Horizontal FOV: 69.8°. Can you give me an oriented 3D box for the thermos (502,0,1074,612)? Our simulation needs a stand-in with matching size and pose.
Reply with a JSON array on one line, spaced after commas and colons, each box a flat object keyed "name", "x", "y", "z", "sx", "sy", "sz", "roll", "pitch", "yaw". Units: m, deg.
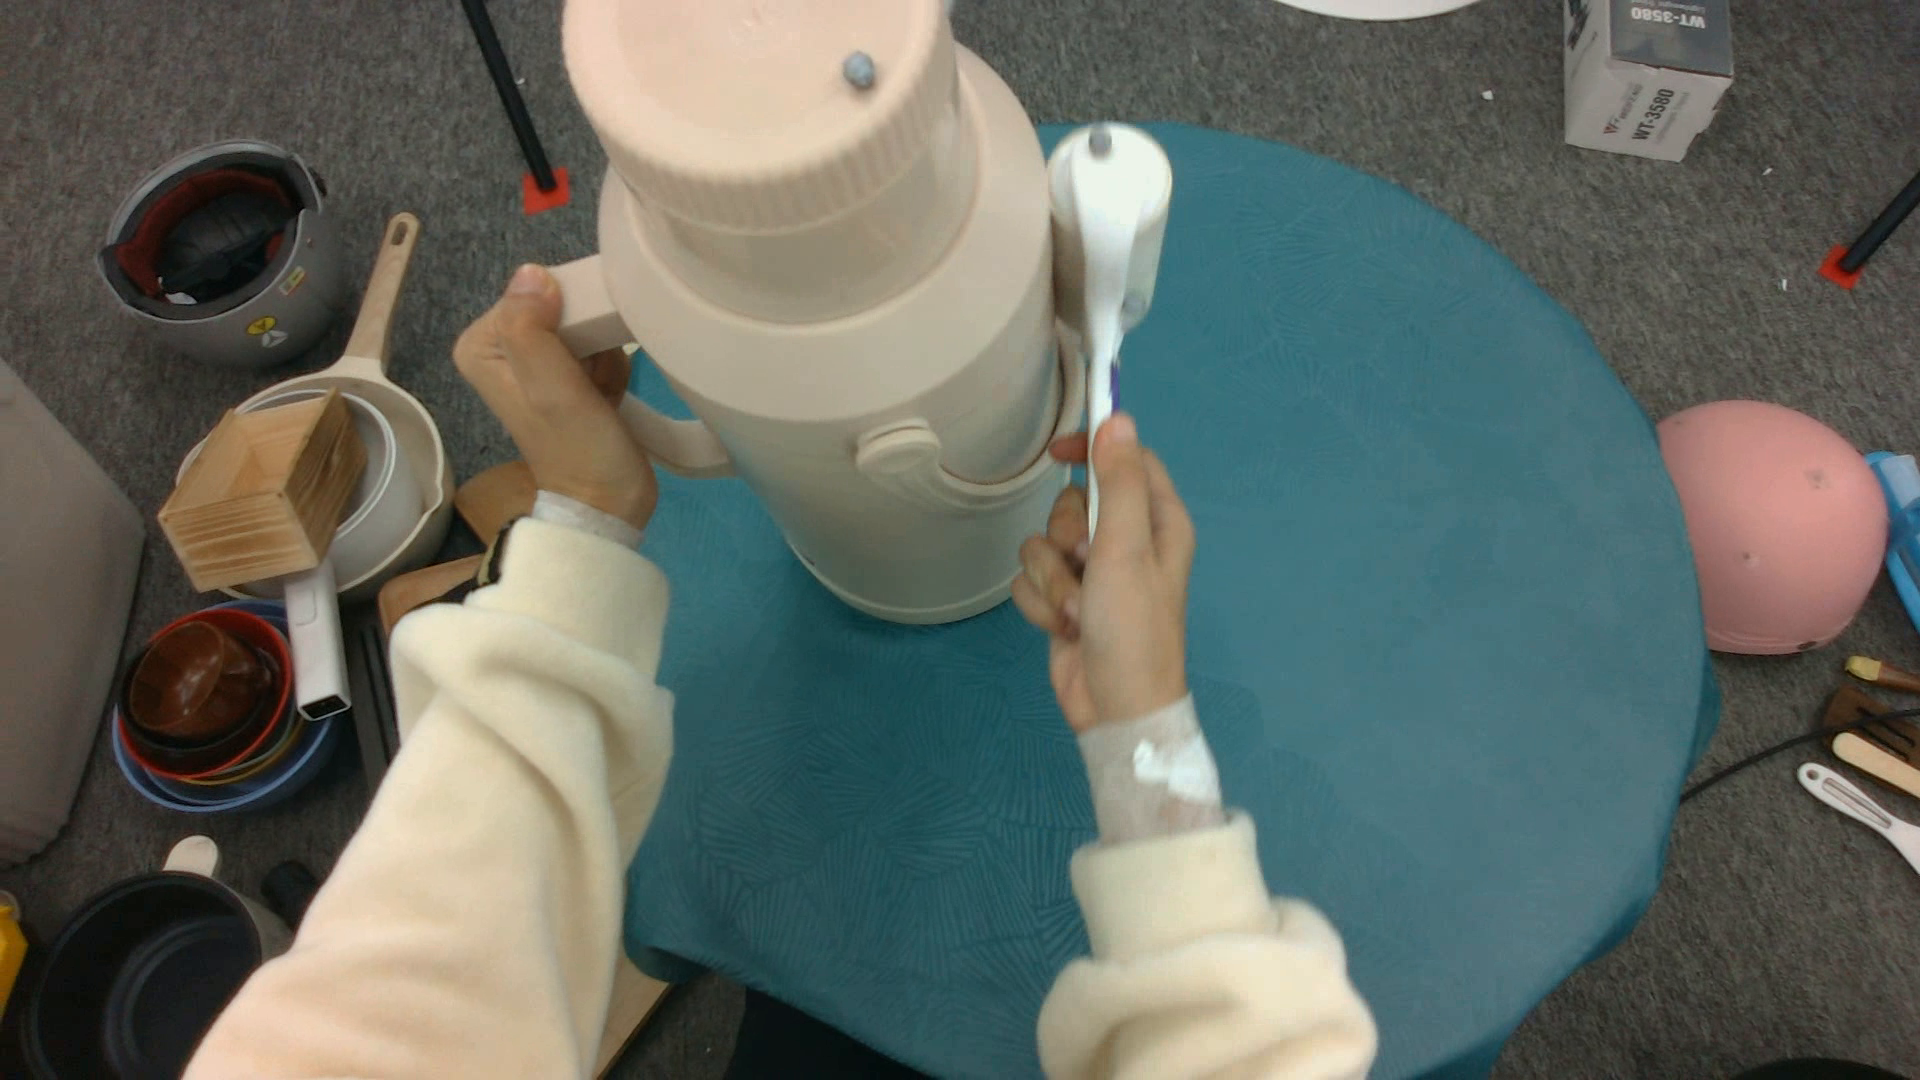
[{"name": "thermos", "x": -0.056, "y": -0.089, "z": 0.566, "sx": 0.207, "sy": 0.405, "sz": 0.175, "roll": -17, "pitch": 74, "yaw": 0}]

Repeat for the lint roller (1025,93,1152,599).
[{"name": "lint roller", "x": 0.058, "y": -0.068, "z": 0.531, "sx": 0.050, "sy": 0.132, "sz": 0.181, "roll": -9, "pitch": 75, "yaw": 0}]
